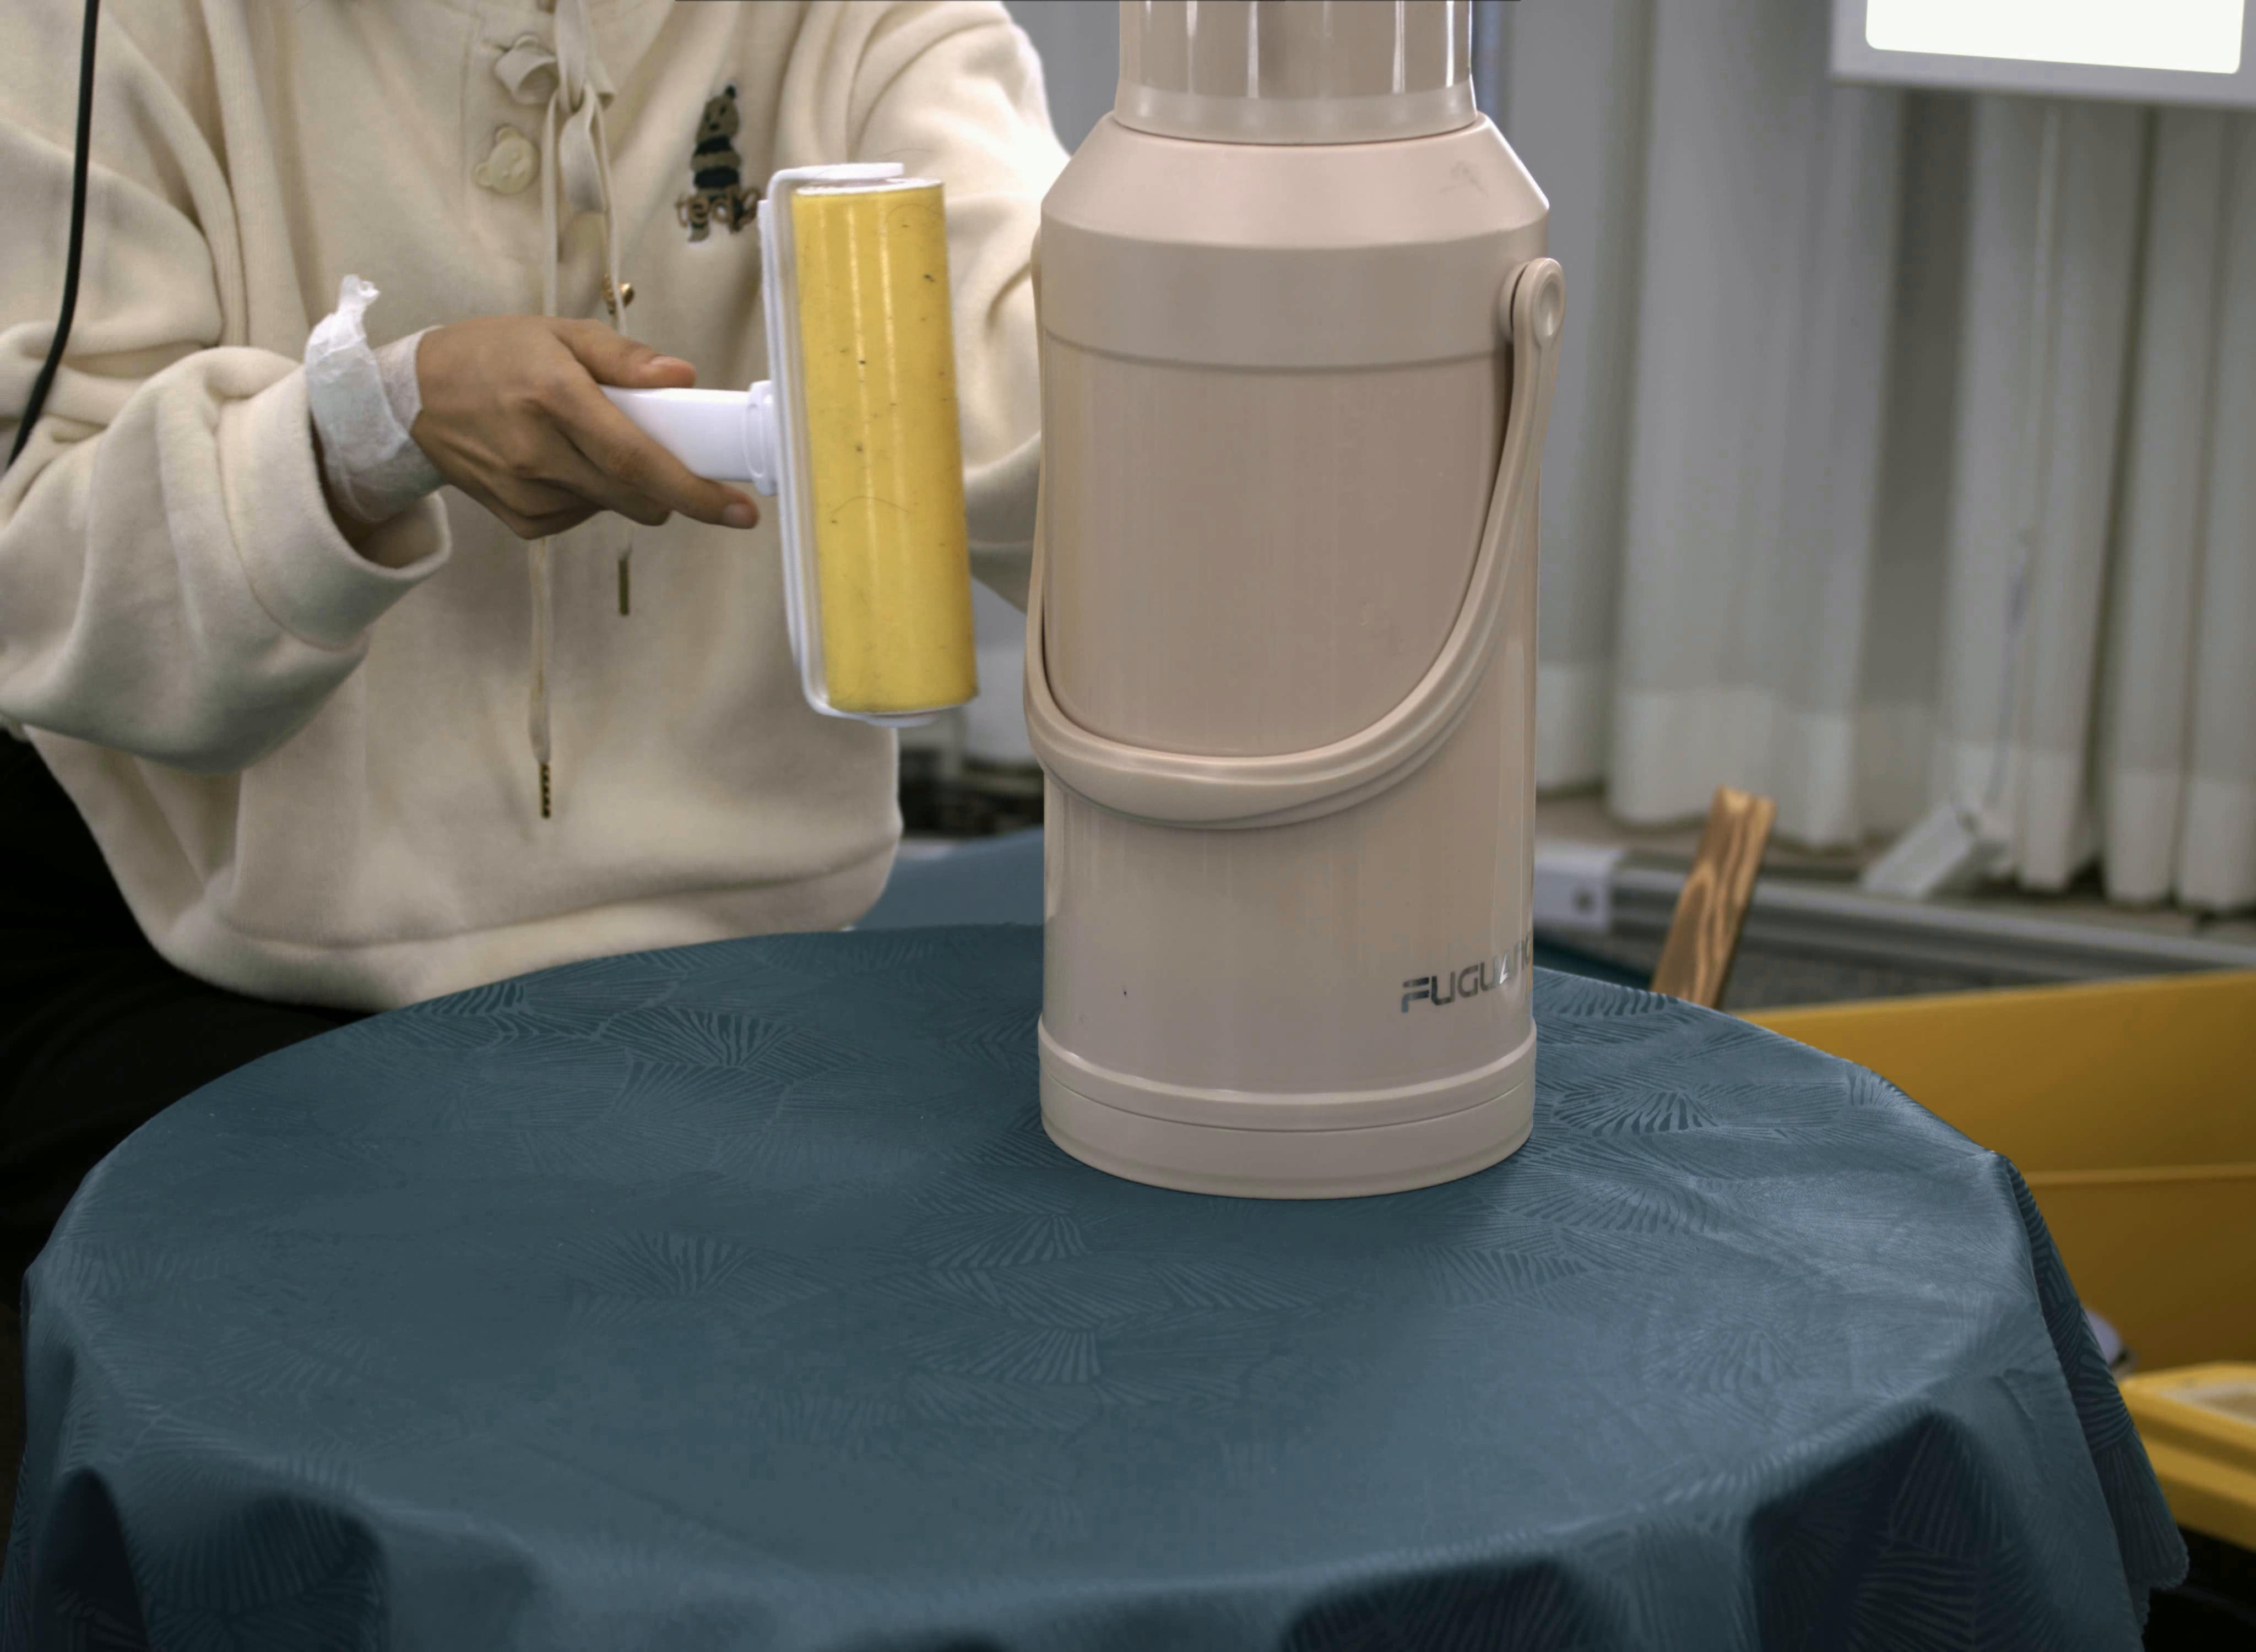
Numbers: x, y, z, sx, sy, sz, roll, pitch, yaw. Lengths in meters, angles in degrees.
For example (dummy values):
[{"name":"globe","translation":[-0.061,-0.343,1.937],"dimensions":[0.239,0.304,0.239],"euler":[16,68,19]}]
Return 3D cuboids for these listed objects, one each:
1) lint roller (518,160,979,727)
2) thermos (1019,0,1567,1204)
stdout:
[{"name":"lint roller","translation":[-0.132,-0.120,1.665],"dimensions":[0.190,0.175,0.051],"euler":[3,12,34]},{"name":"thermos","translation":[0.059,-0.099,1.643],"dimensions":[0.173,0.409,0.207],"euler":[9,18,29]}]
